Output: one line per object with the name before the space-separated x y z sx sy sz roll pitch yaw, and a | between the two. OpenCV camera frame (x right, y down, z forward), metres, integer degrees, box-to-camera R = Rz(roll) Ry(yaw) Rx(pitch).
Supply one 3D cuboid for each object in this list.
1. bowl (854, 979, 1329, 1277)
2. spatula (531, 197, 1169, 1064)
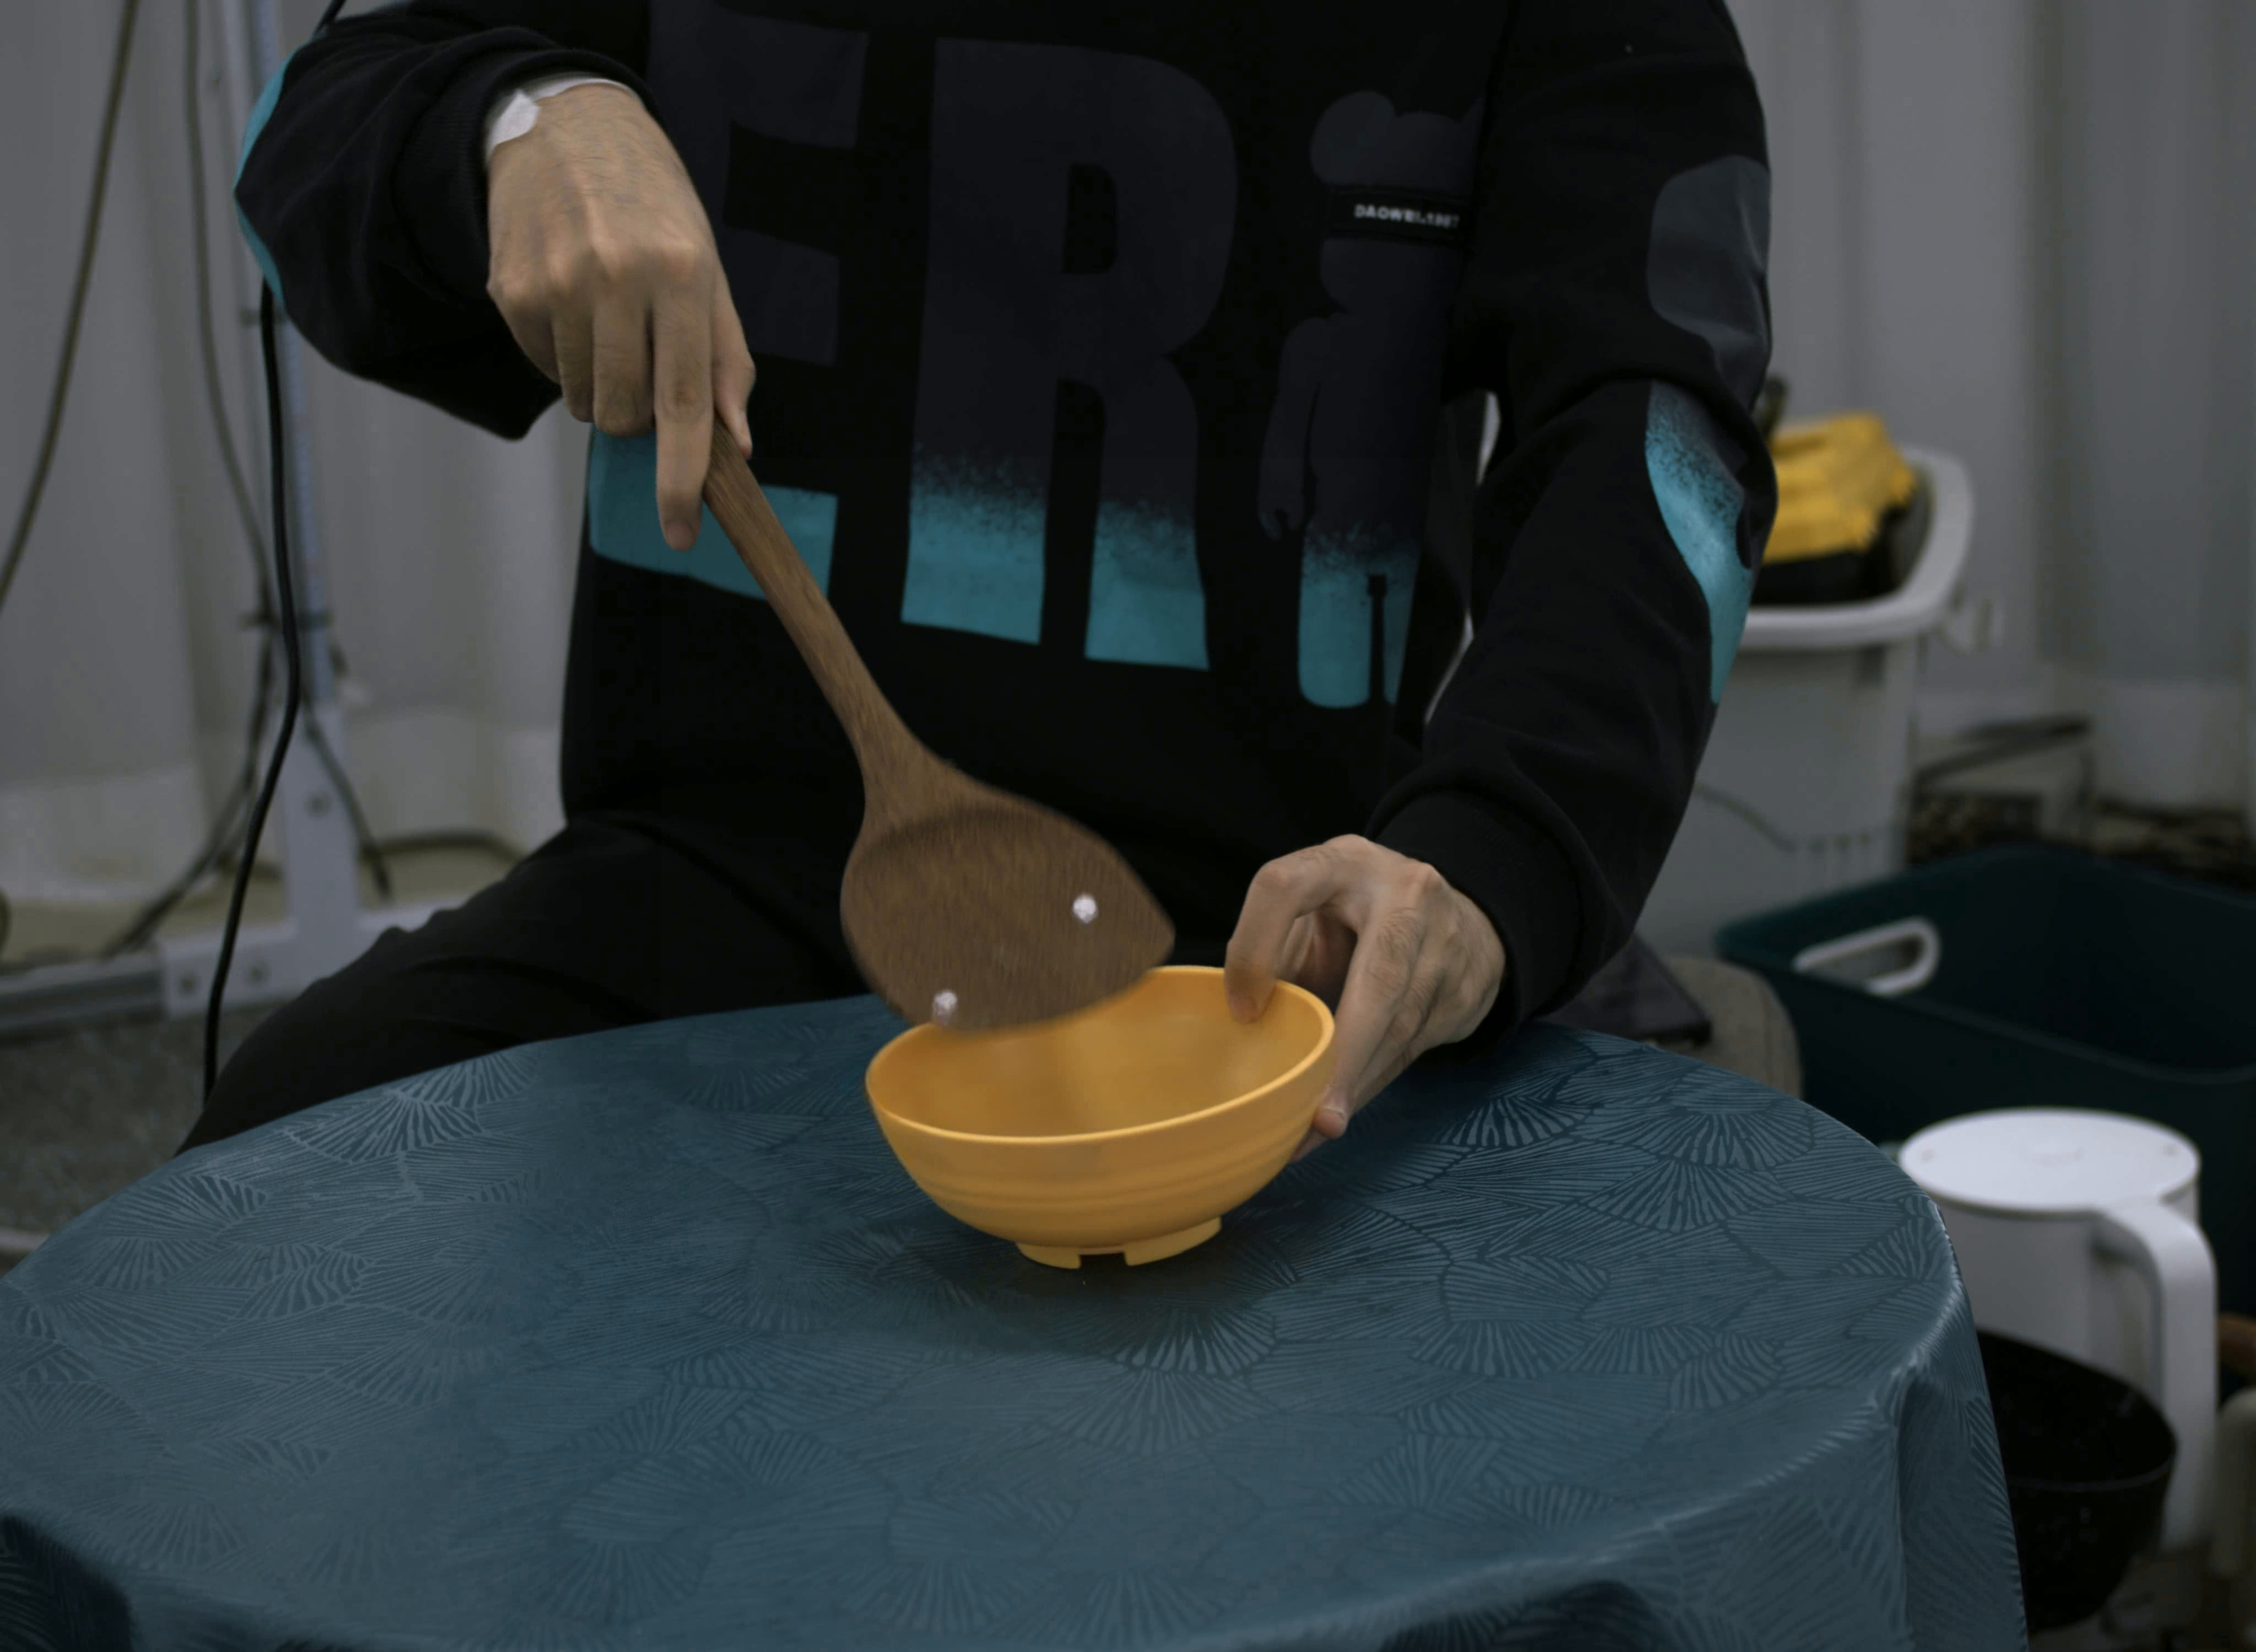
bowl | -0.009 0.098 1.663 0.145 0.060 0.146 -4 17 1
spatula | -0.107 -0.073 1.746 0.096 0.015 0.391 -15 55 -24
